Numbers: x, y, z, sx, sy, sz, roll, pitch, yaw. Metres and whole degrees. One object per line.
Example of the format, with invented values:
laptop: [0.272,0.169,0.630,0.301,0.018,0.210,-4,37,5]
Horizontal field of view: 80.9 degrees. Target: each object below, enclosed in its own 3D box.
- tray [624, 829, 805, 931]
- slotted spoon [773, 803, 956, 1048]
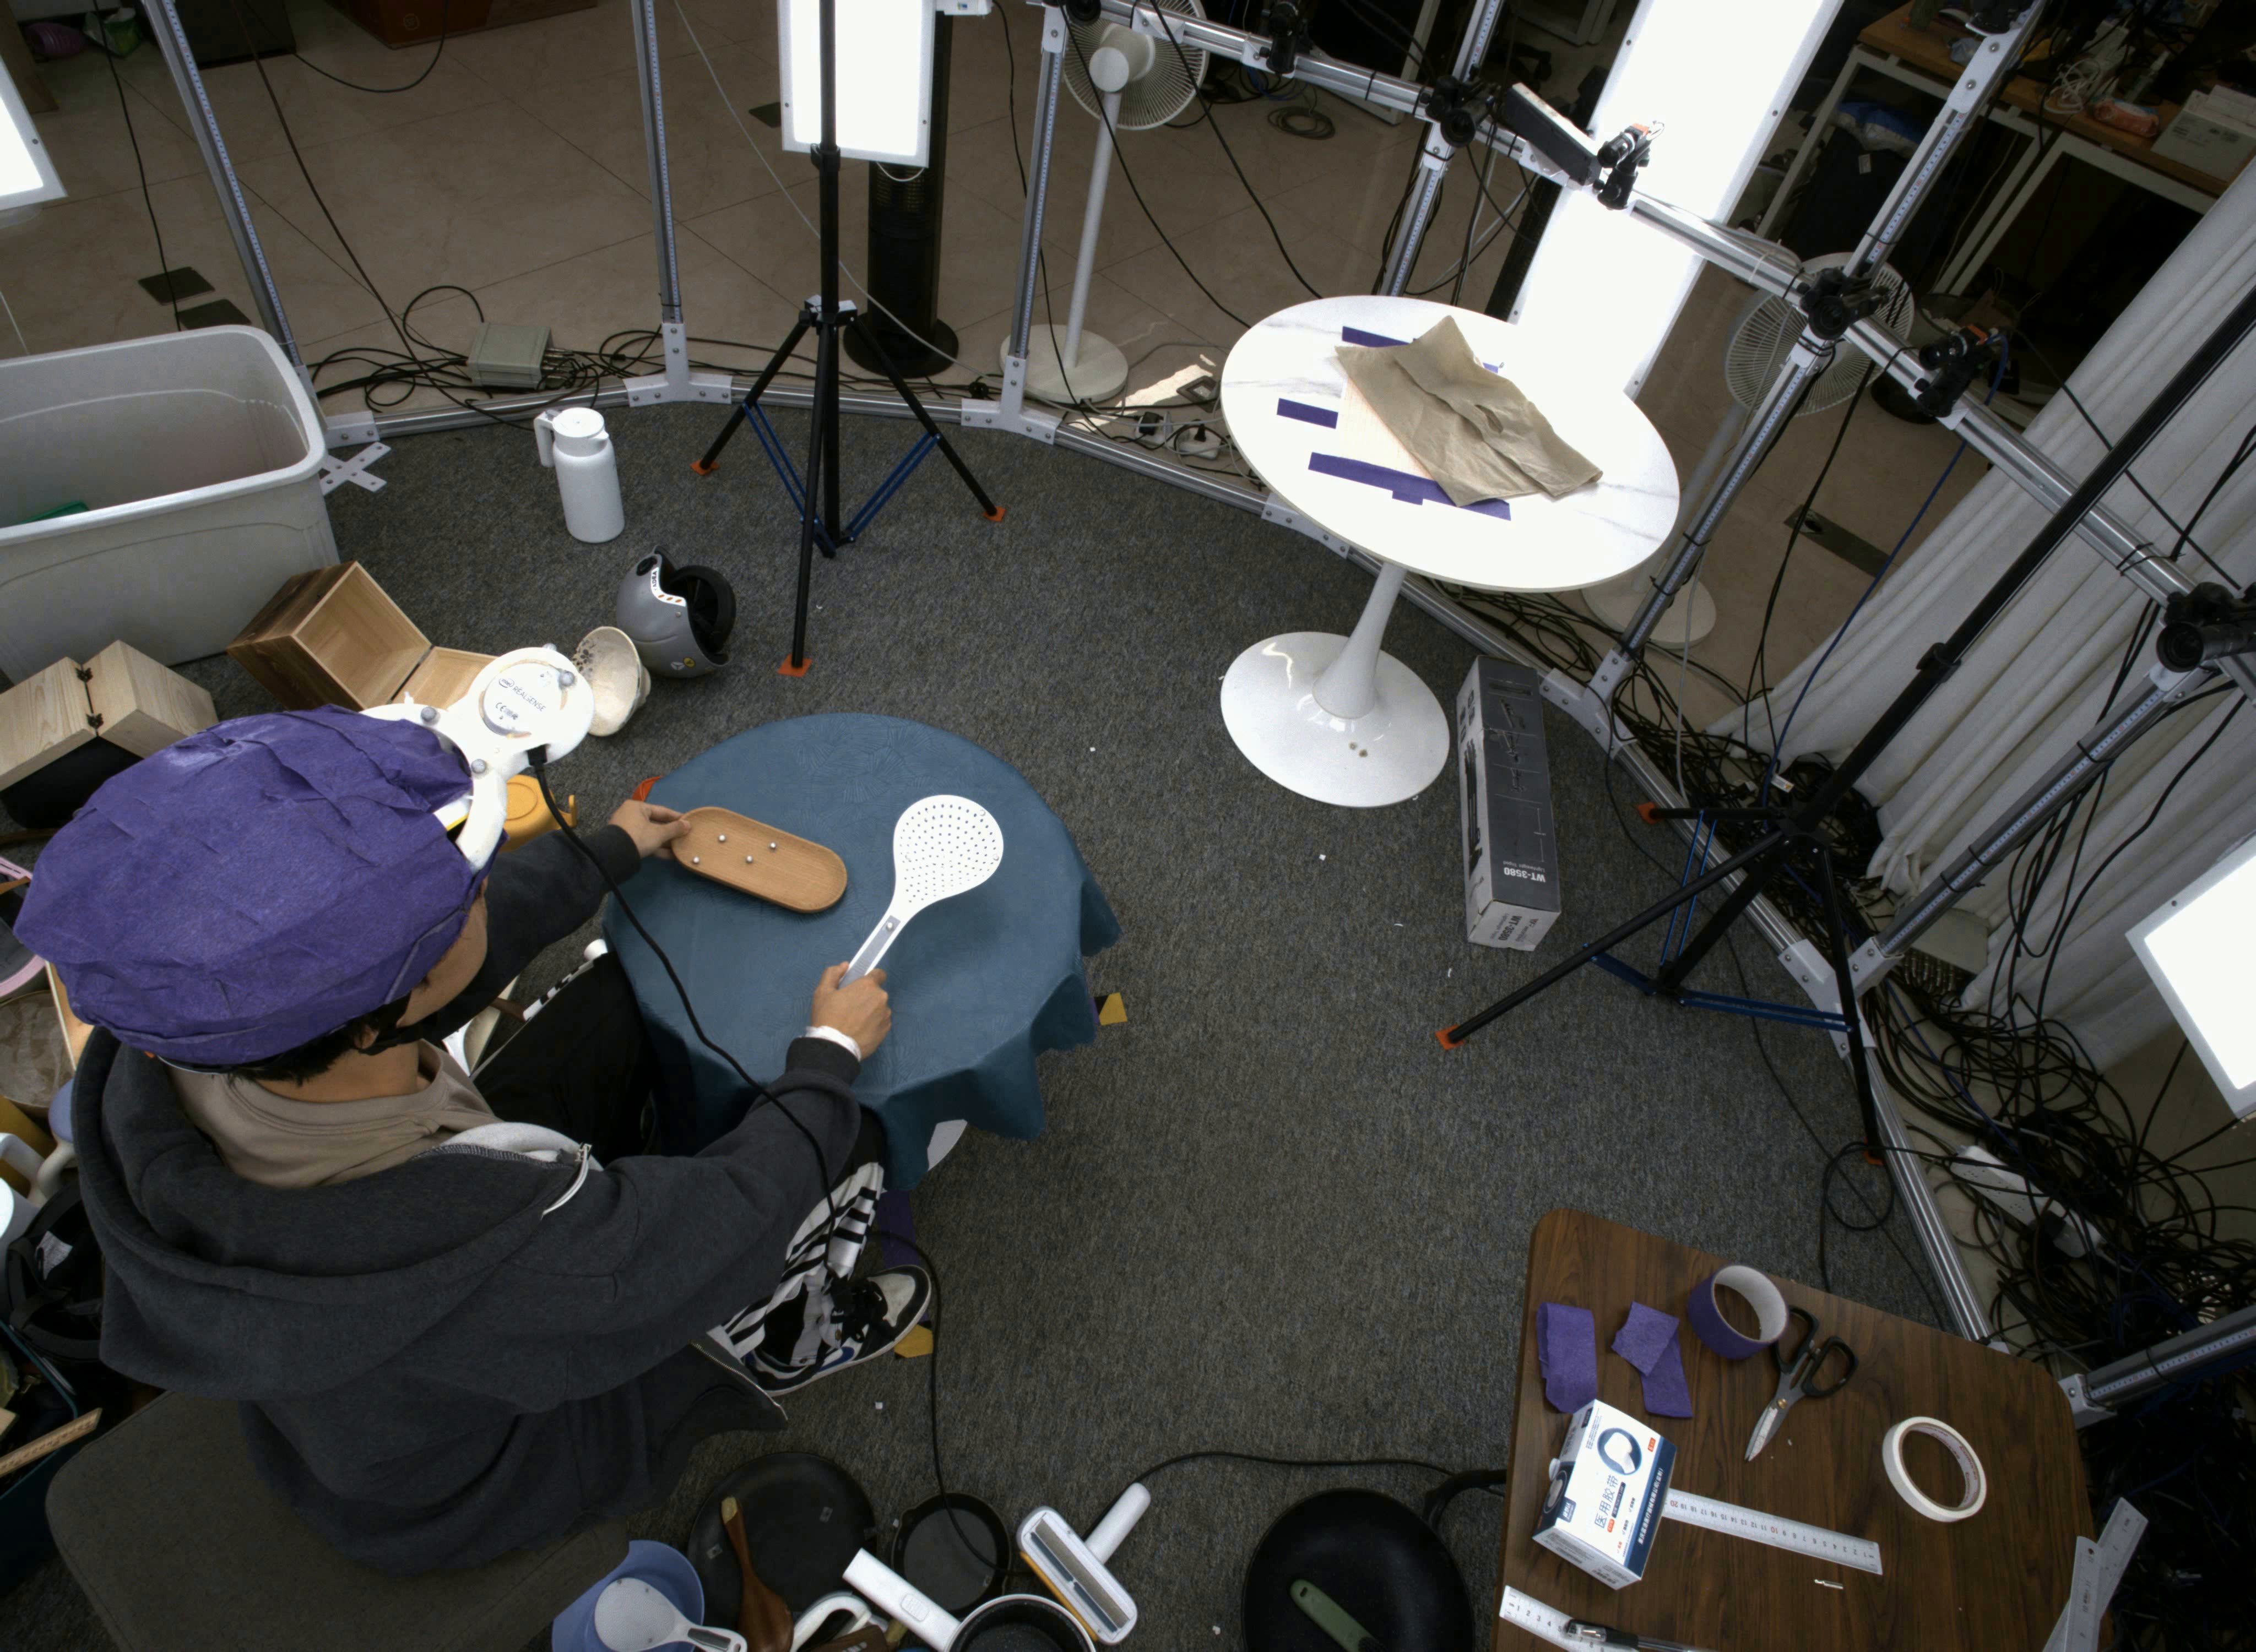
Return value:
tray: [-0.522,0.067,1.628,0.232,0.020,0.100,18,54,-10]
slotted spoon: [-0.324,0.114,1.560,0.135,0.046,0.347,28,53,-1]
